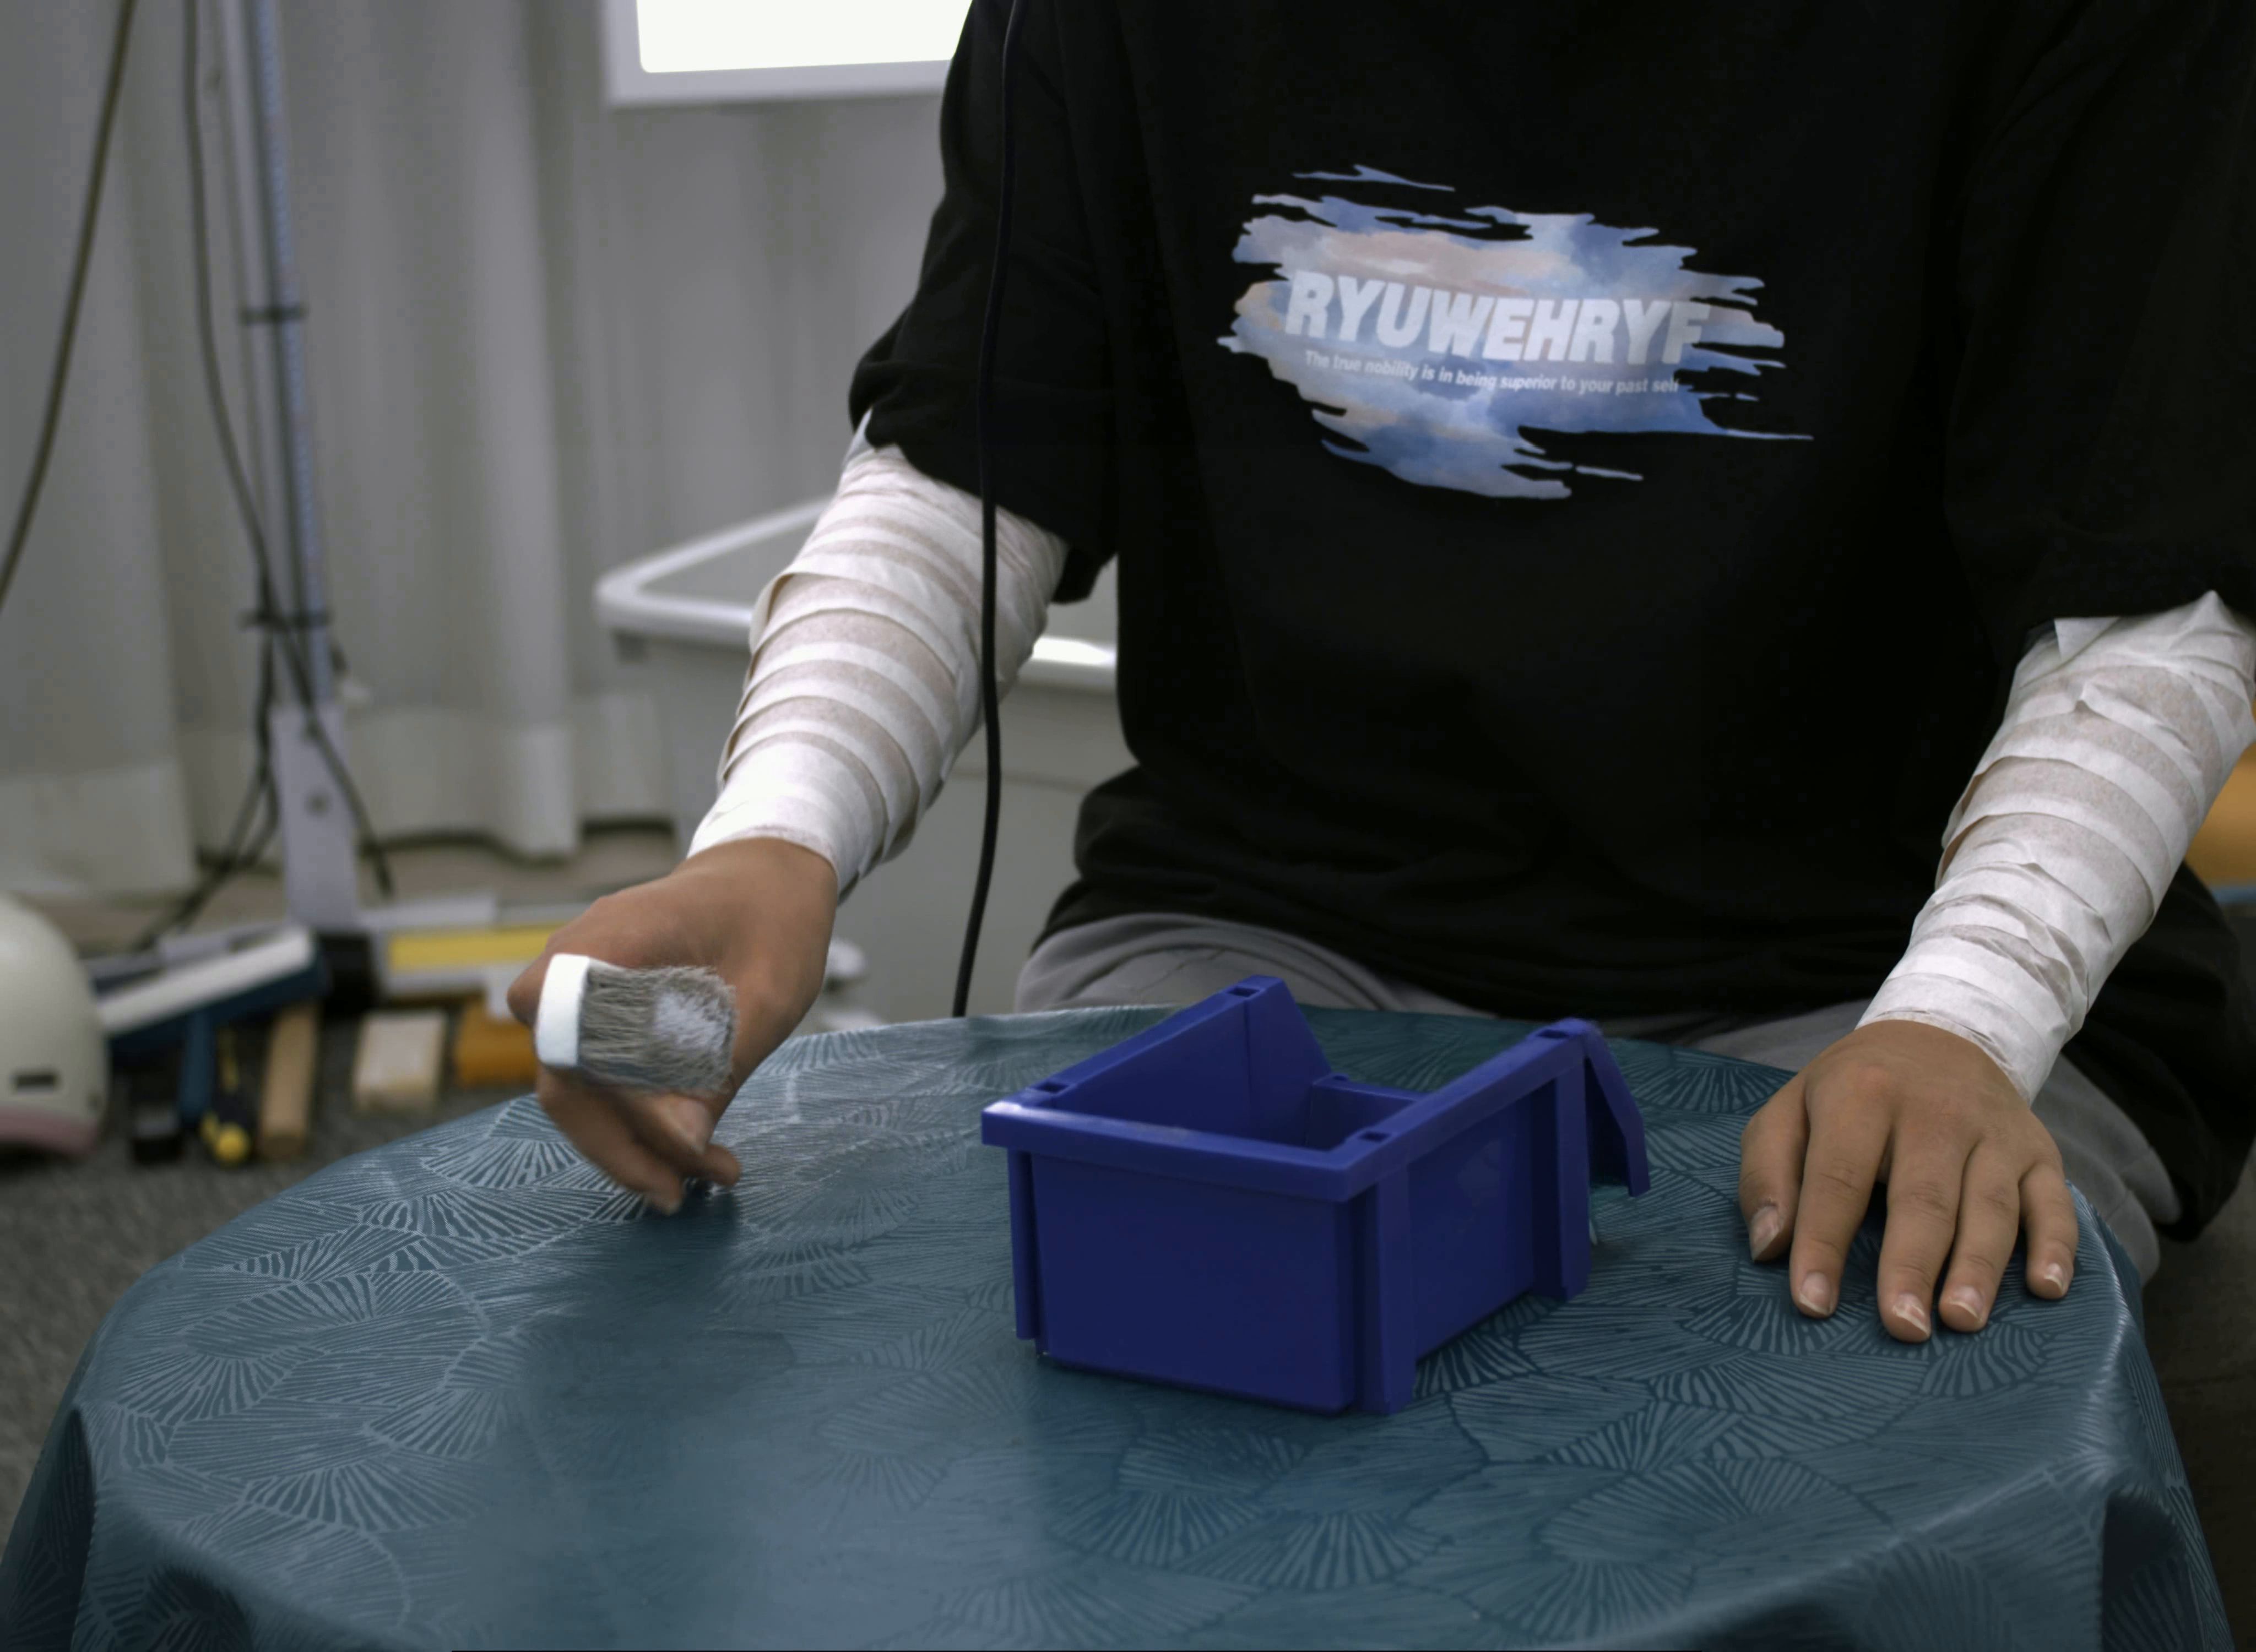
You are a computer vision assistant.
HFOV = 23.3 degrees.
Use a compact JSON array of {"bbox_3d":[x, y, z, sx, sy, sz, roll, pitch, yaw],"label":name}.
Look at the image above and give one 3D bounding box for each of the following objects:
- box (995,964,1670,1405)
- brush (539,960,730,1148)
[{"bbox_3d":[0.061,0.100,1.598,0.125,0.081,0.179,6,18,34],"label":"box"},{"bbox_3d":[-0.140,0.074,1.683,0.050,0.034,0.242,1,-11,3],"label":"brush"}]
